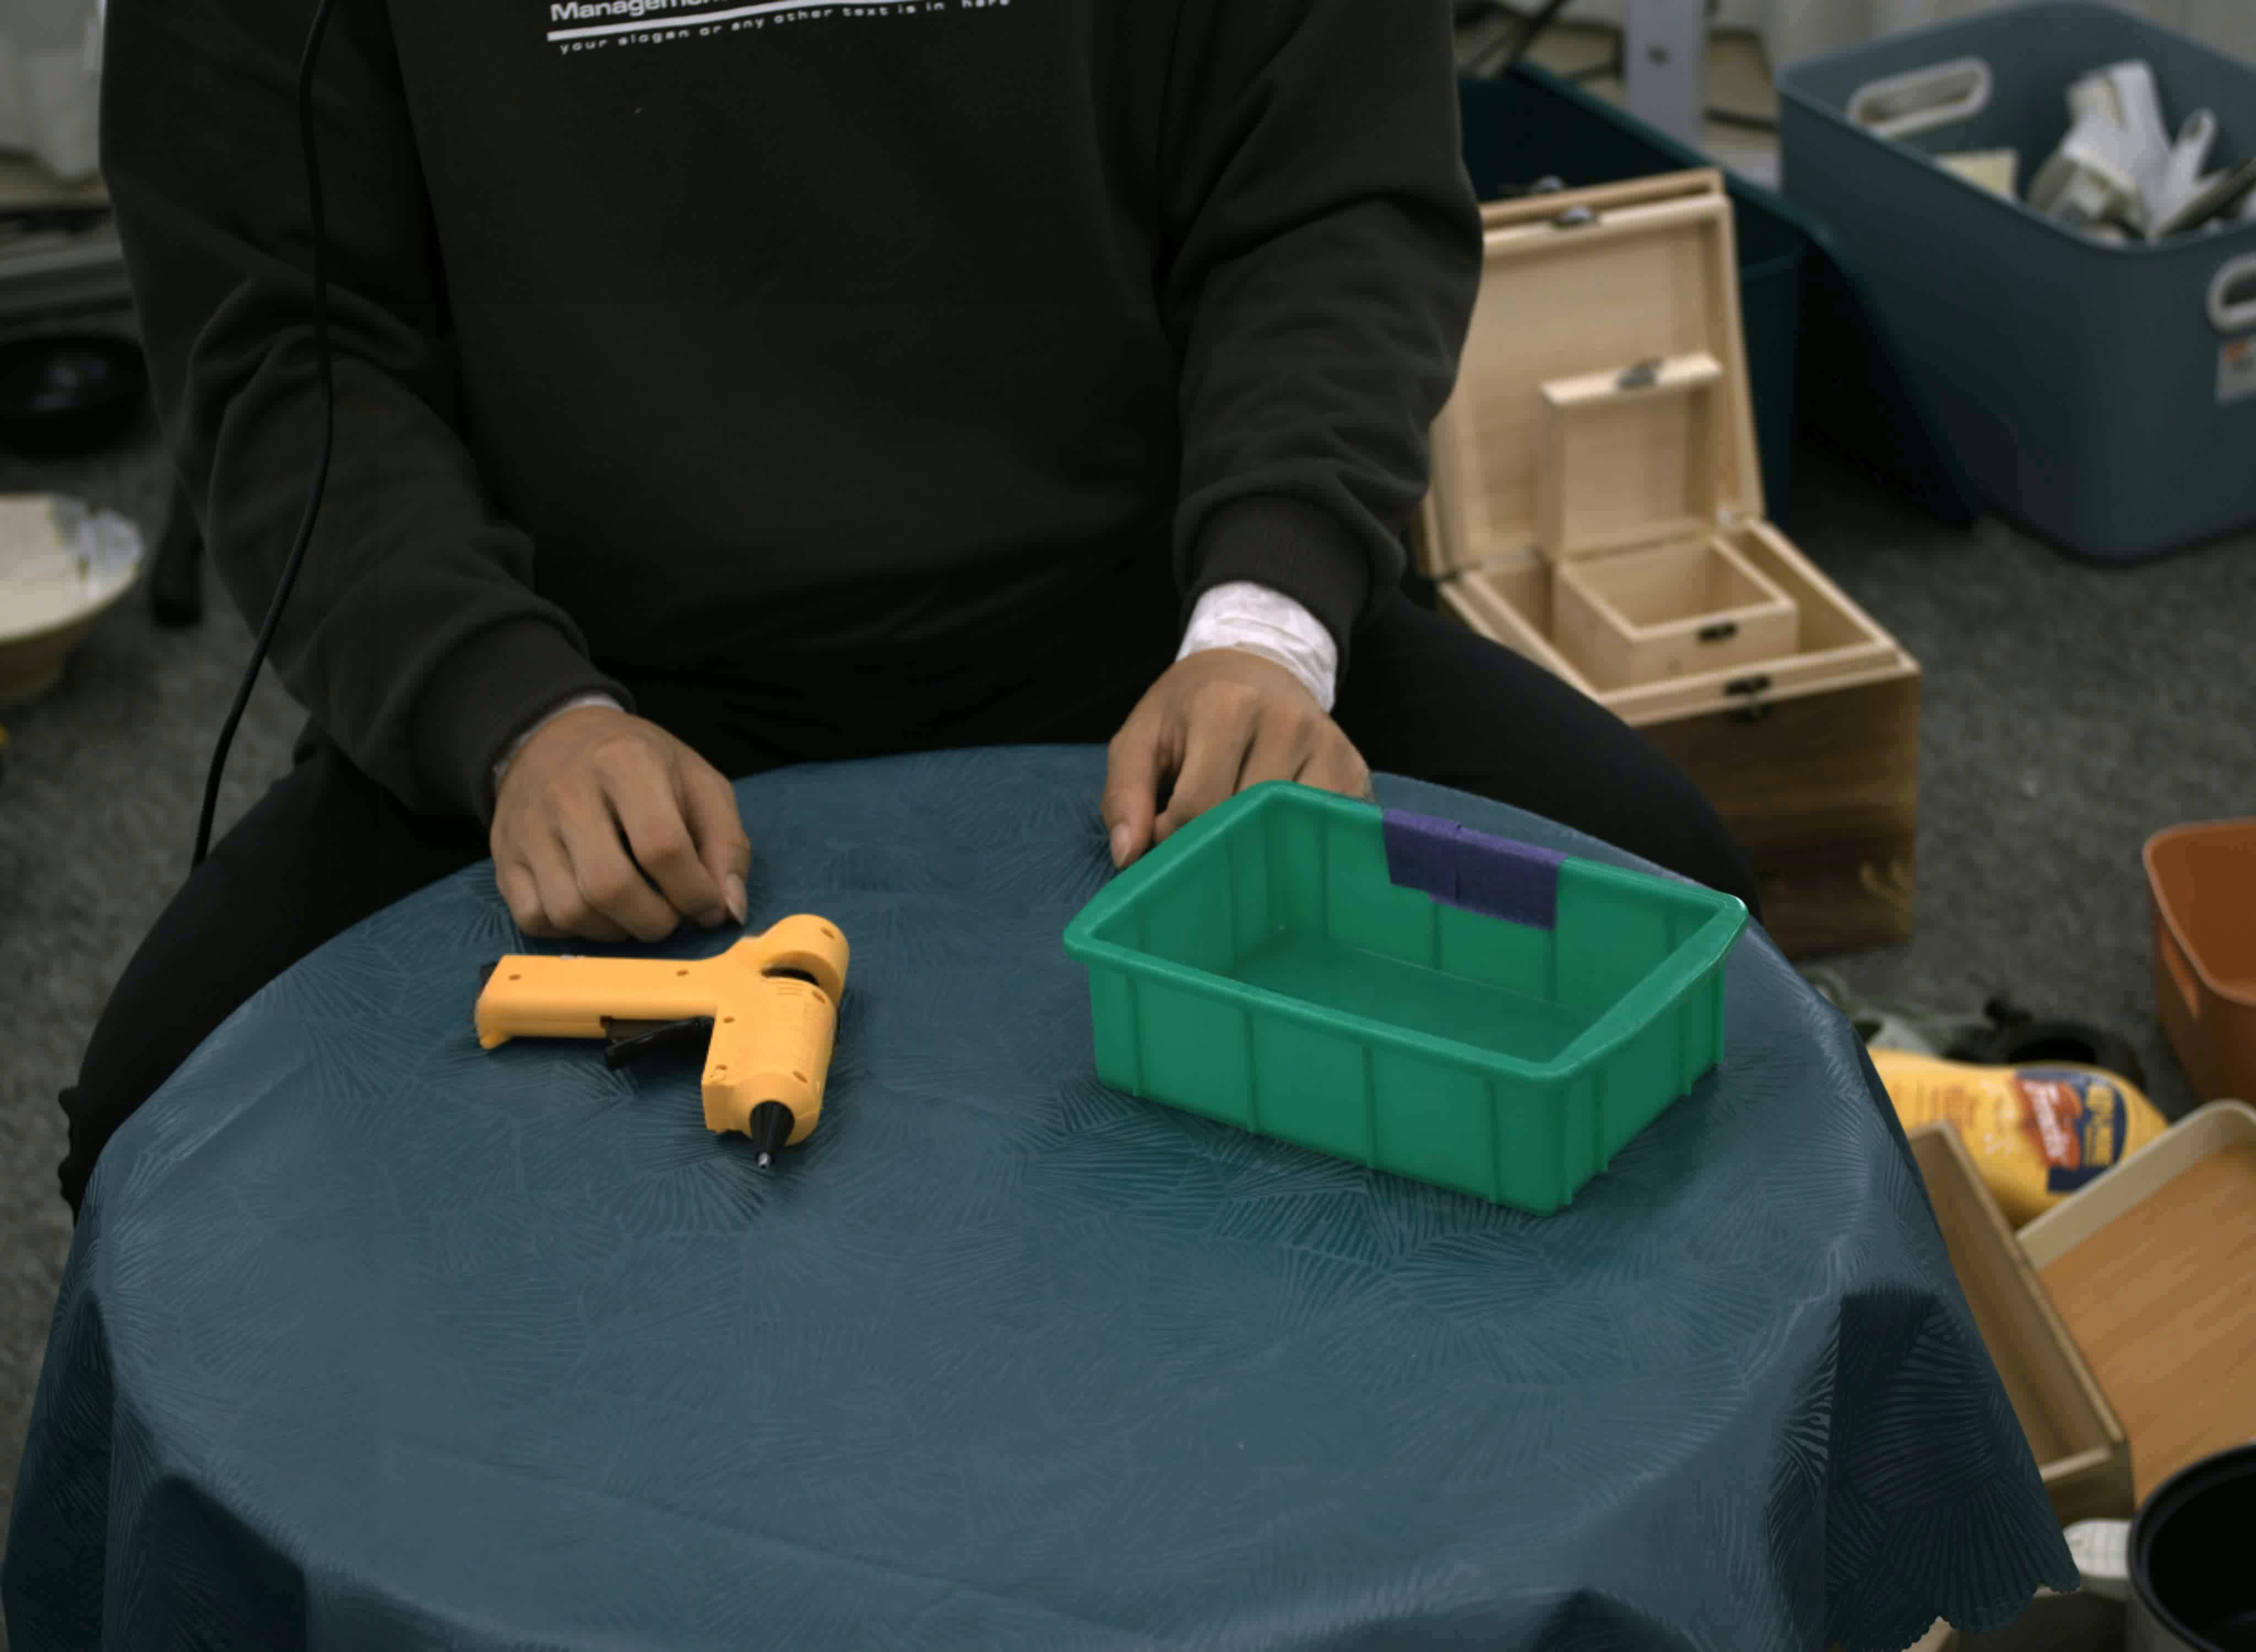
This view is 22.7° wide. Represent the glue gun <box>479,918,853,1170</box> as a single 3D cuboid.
[{"bbox_3d":[-0.161,0.082,1.931,0.132,0.031,0.153,-5,27,0],"label":"glue gun"}]

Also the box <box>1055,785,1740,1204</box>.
[{"bbox_3d":[0.092,0.057,1.913,0.209,0.065,0.141,12,29,30],"label":"box"}]
